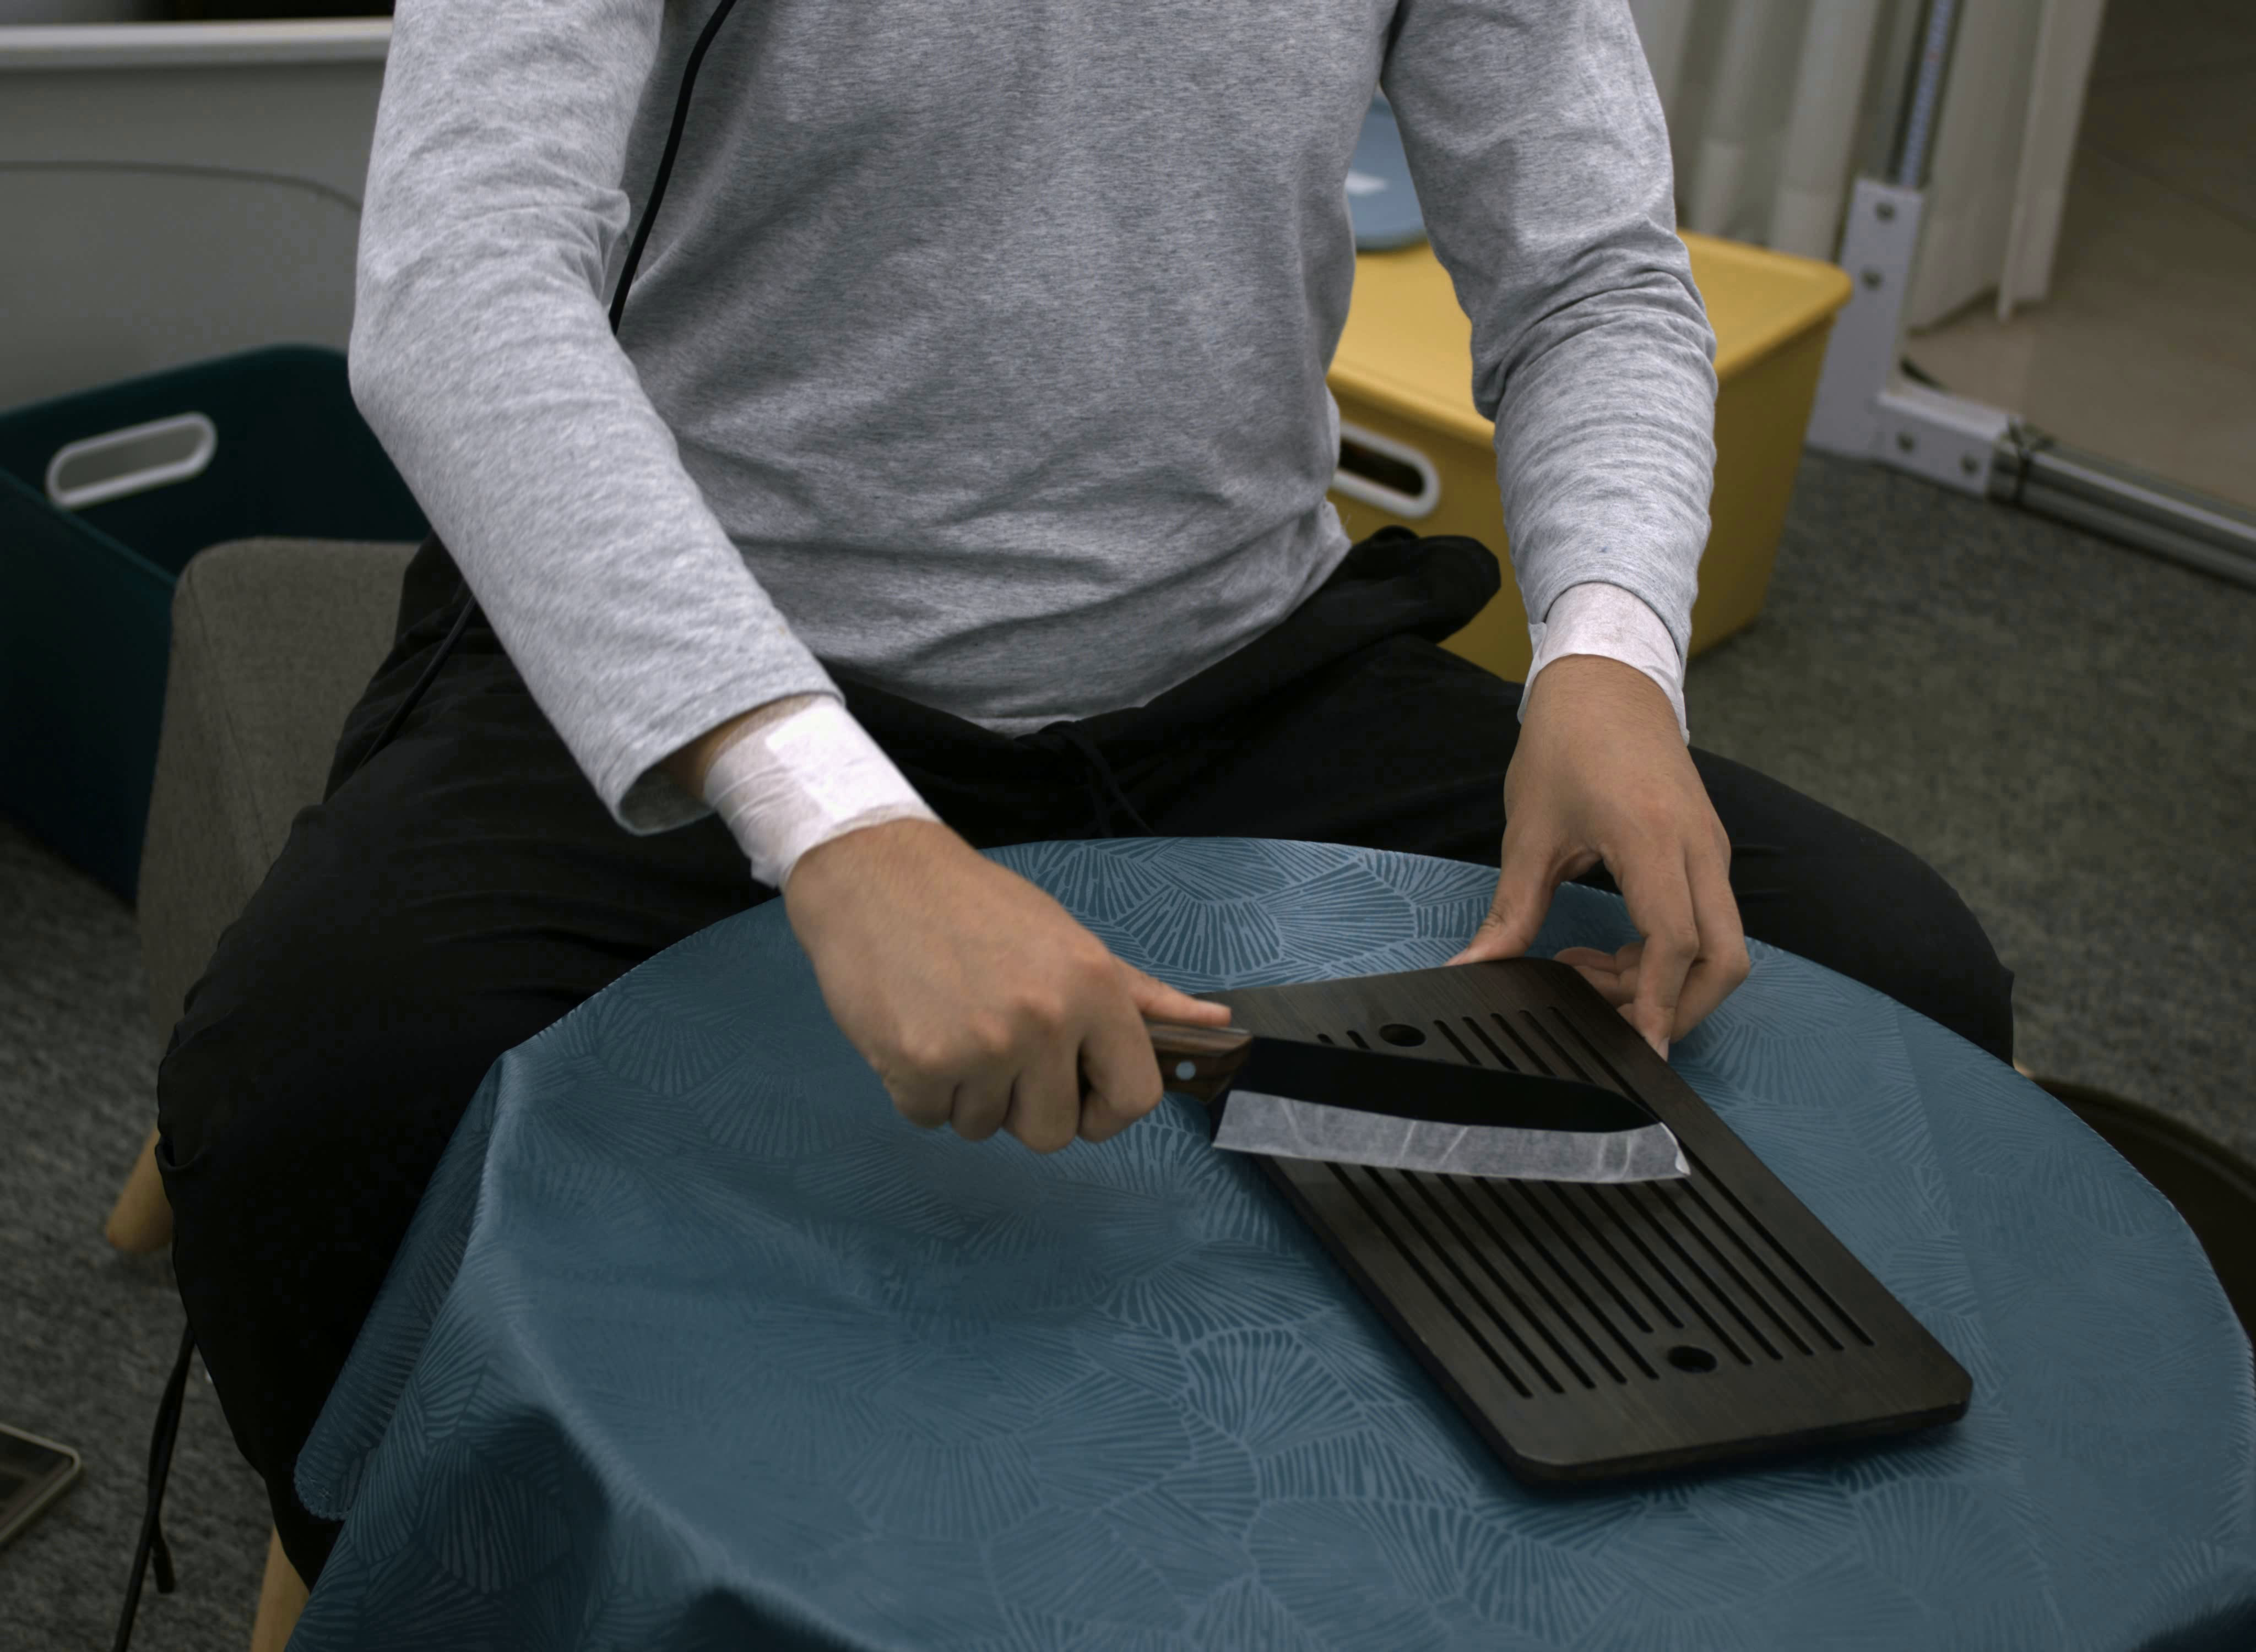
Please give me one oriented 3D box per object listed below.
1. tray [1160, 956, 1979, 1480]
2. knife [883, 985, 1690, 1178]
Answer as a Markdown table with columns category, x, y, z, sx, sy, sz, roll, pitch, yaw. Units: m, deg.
| category | x | y | z | sx | sy | sz | roll | pitch | yaw |
| --- | --- | --- | --- | --- | --- | --- | --- | --- | --- |
| tray | 0.143 | 0.130 | 1.807 | 0.169 | 0.018 | 0.309 | -6 | 29 | -22 |
| knife | 0.055 | 0.087 | 1.779 | 0.287 | 0.050 | 0.020 | 11 | 26 | -14 |
